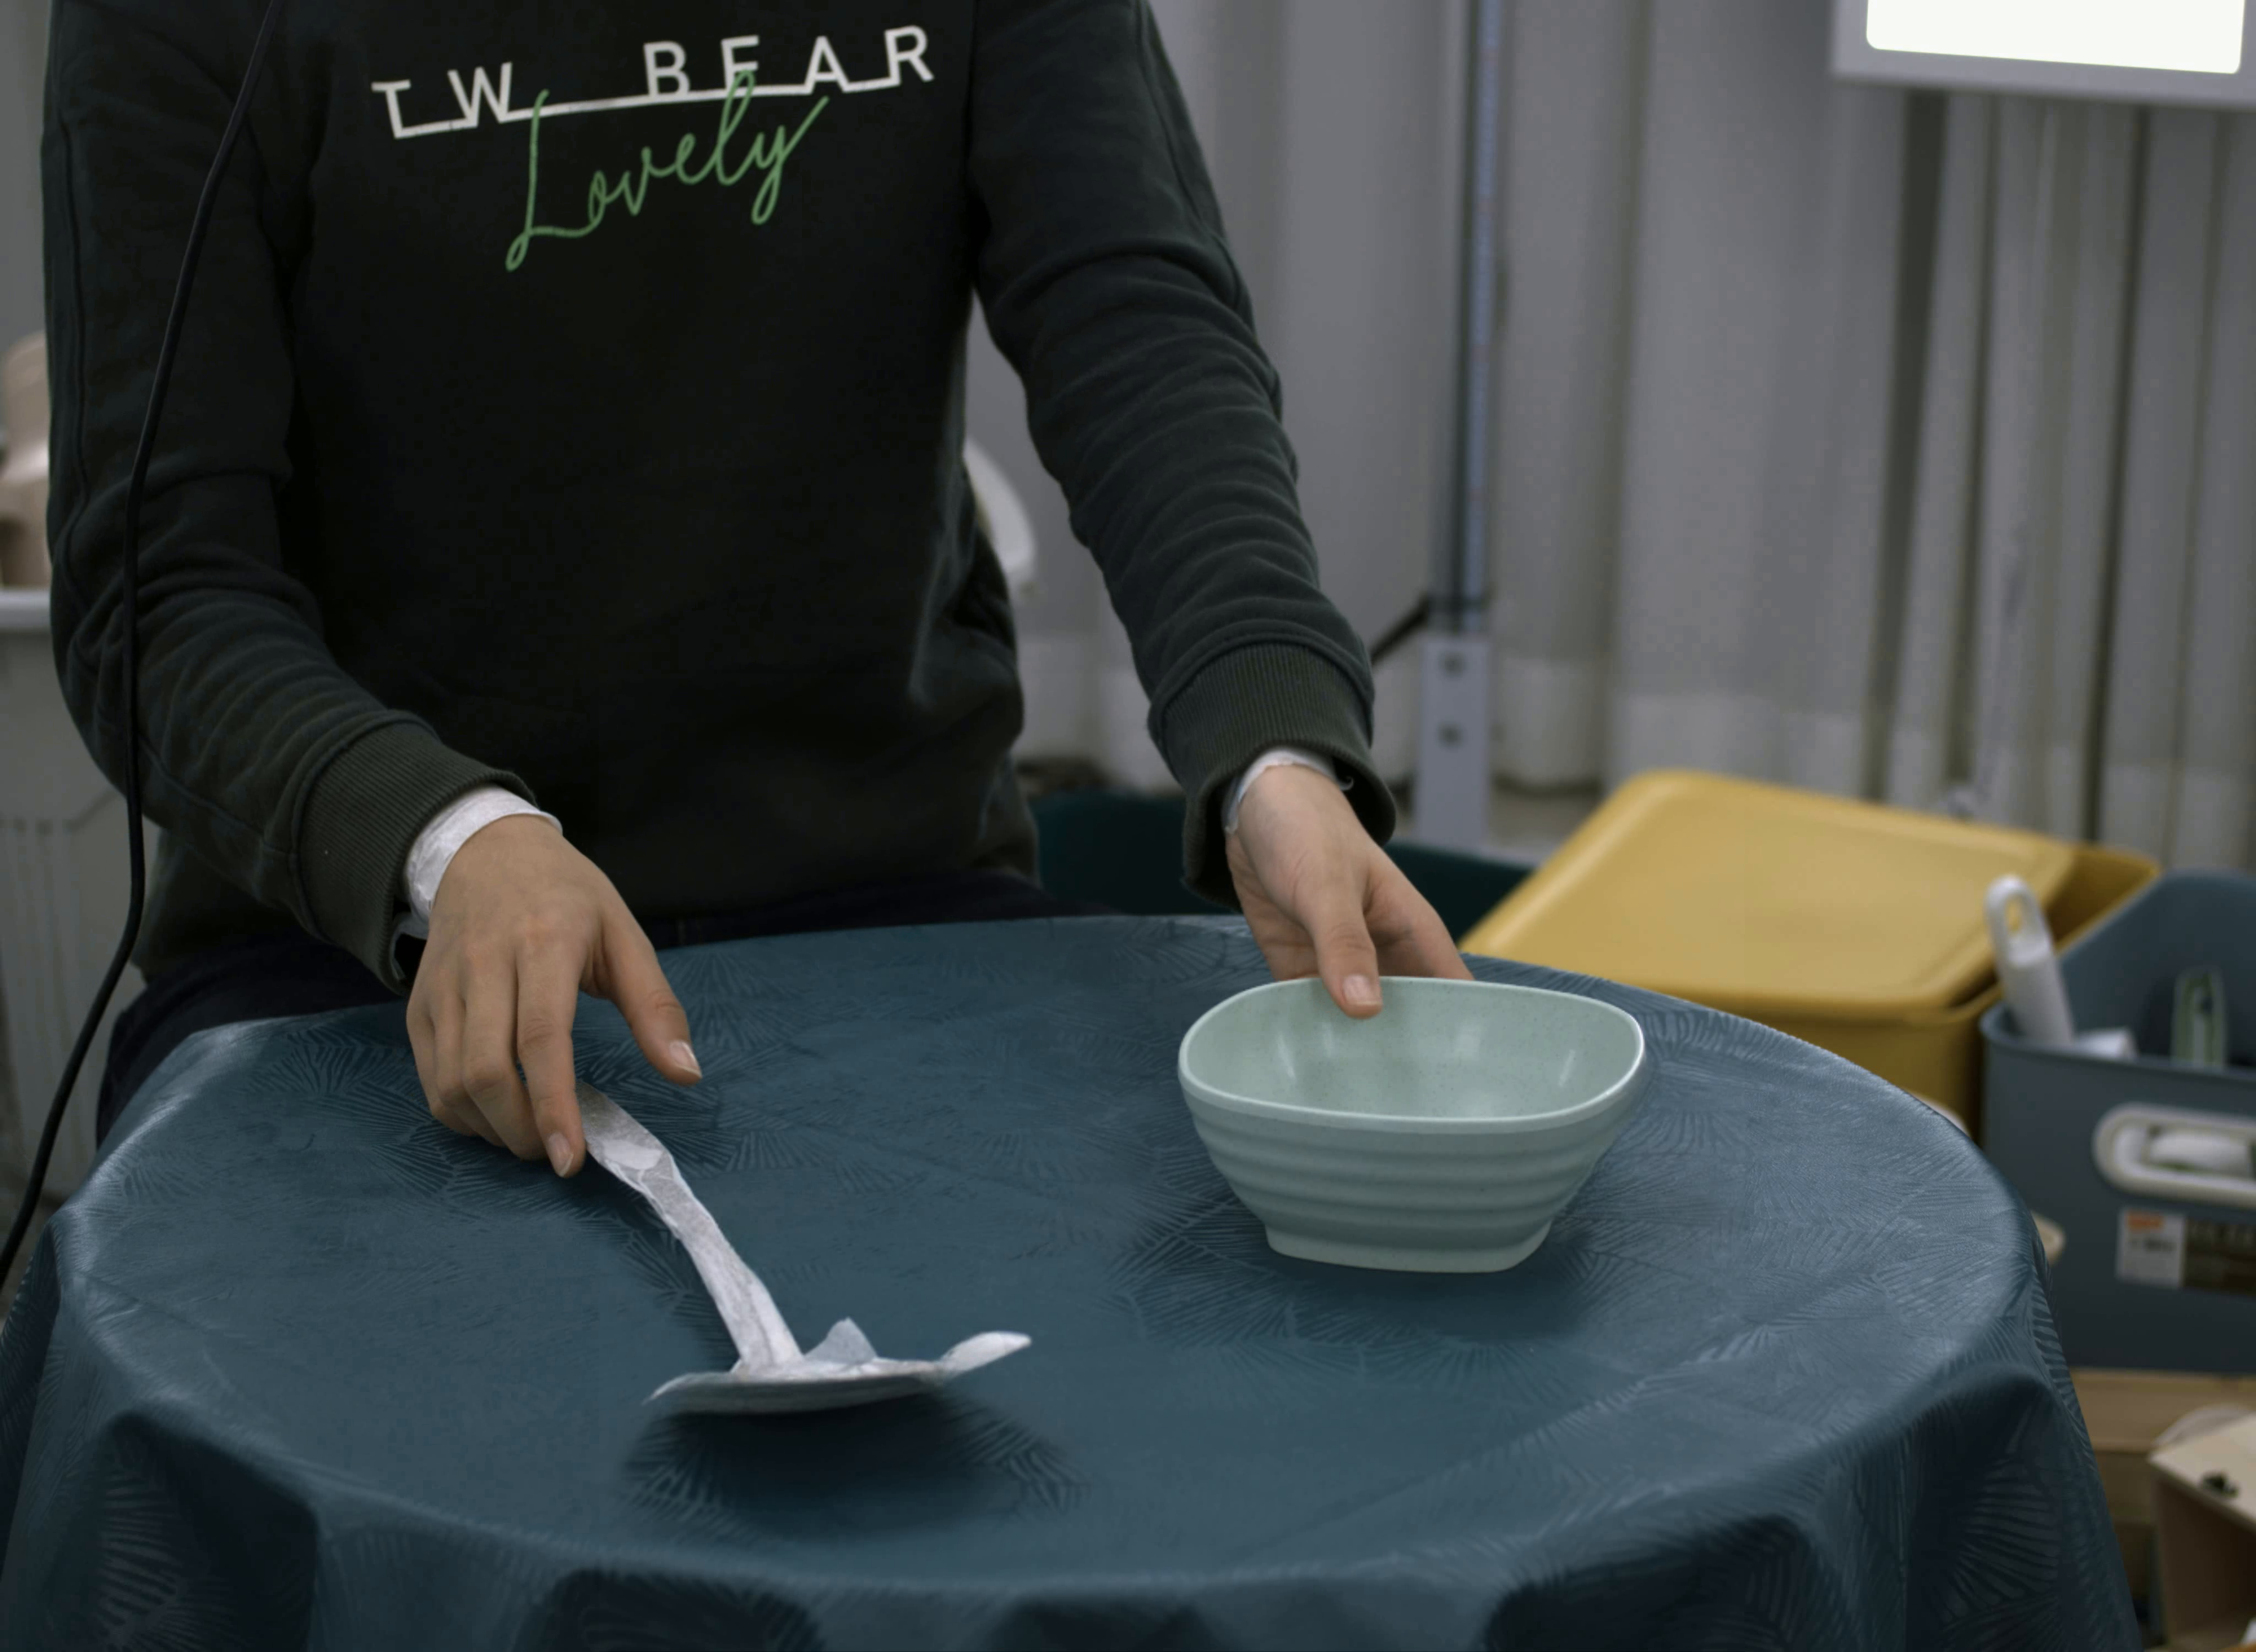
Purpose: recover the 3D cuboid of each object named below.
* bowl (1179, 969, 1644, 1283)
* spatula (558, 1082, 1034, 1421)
[{"bbox_3d":[0.084,0.094,1.593,0.151,0.059,0.150,3,18,0],"label":"bowl"},{"bbox_3d":[-0.122,0.115,1.542,0.099,0.045,0.361,-6,17,-18],"label":"spatula"}]
